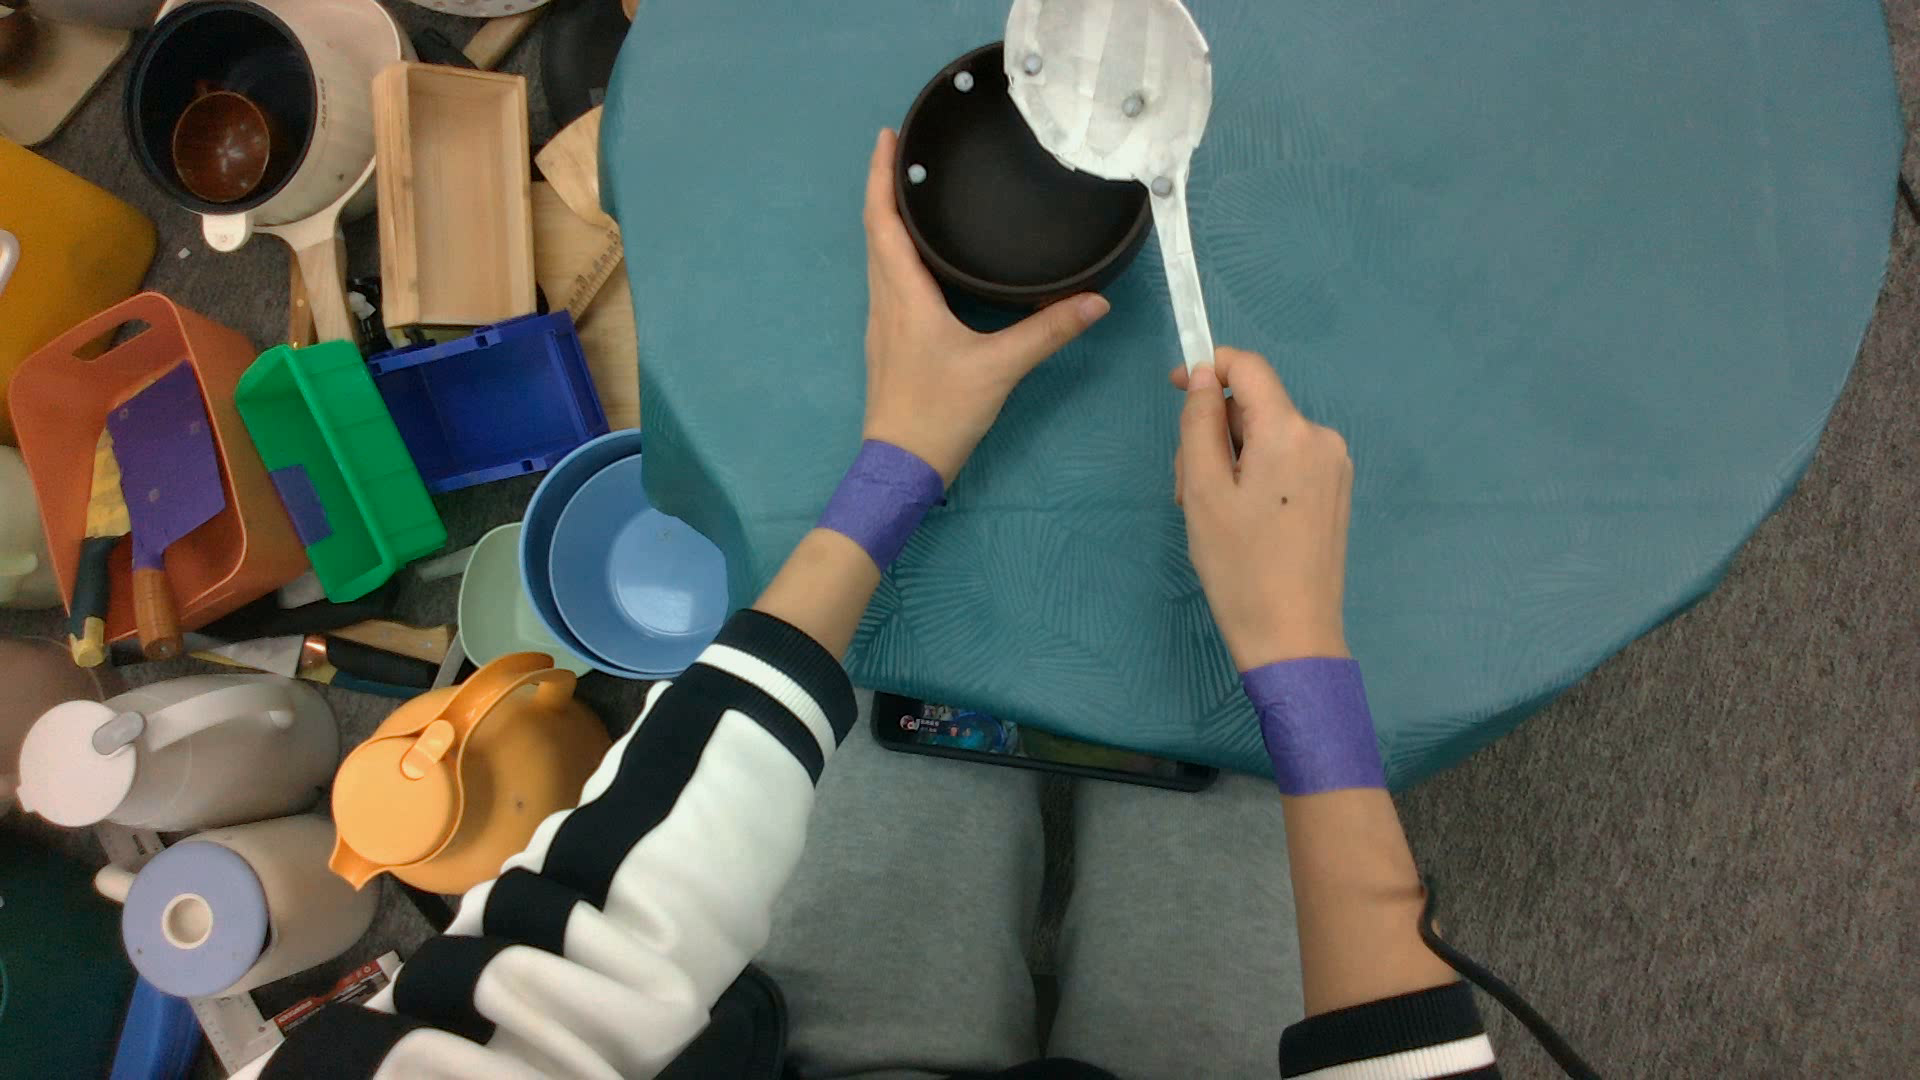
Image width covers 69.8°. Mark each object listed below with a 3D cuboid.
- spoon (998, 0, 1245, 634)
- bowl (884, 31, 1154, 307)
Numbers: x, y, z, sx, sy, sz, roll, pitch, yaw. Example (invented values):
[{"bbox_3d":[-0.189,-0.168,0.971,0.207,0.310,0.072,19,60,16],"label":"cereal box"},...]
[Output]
[{"bbox_3d":[0.069,-0.093,0.567,0.059,0.100,0.277,-10,92,-36],"label":"spoon"},{"bbox_3d":[0.028,-0.161,0.624,0.118,0.070,0.118,-1,84,5],"label":"bowl"}]
